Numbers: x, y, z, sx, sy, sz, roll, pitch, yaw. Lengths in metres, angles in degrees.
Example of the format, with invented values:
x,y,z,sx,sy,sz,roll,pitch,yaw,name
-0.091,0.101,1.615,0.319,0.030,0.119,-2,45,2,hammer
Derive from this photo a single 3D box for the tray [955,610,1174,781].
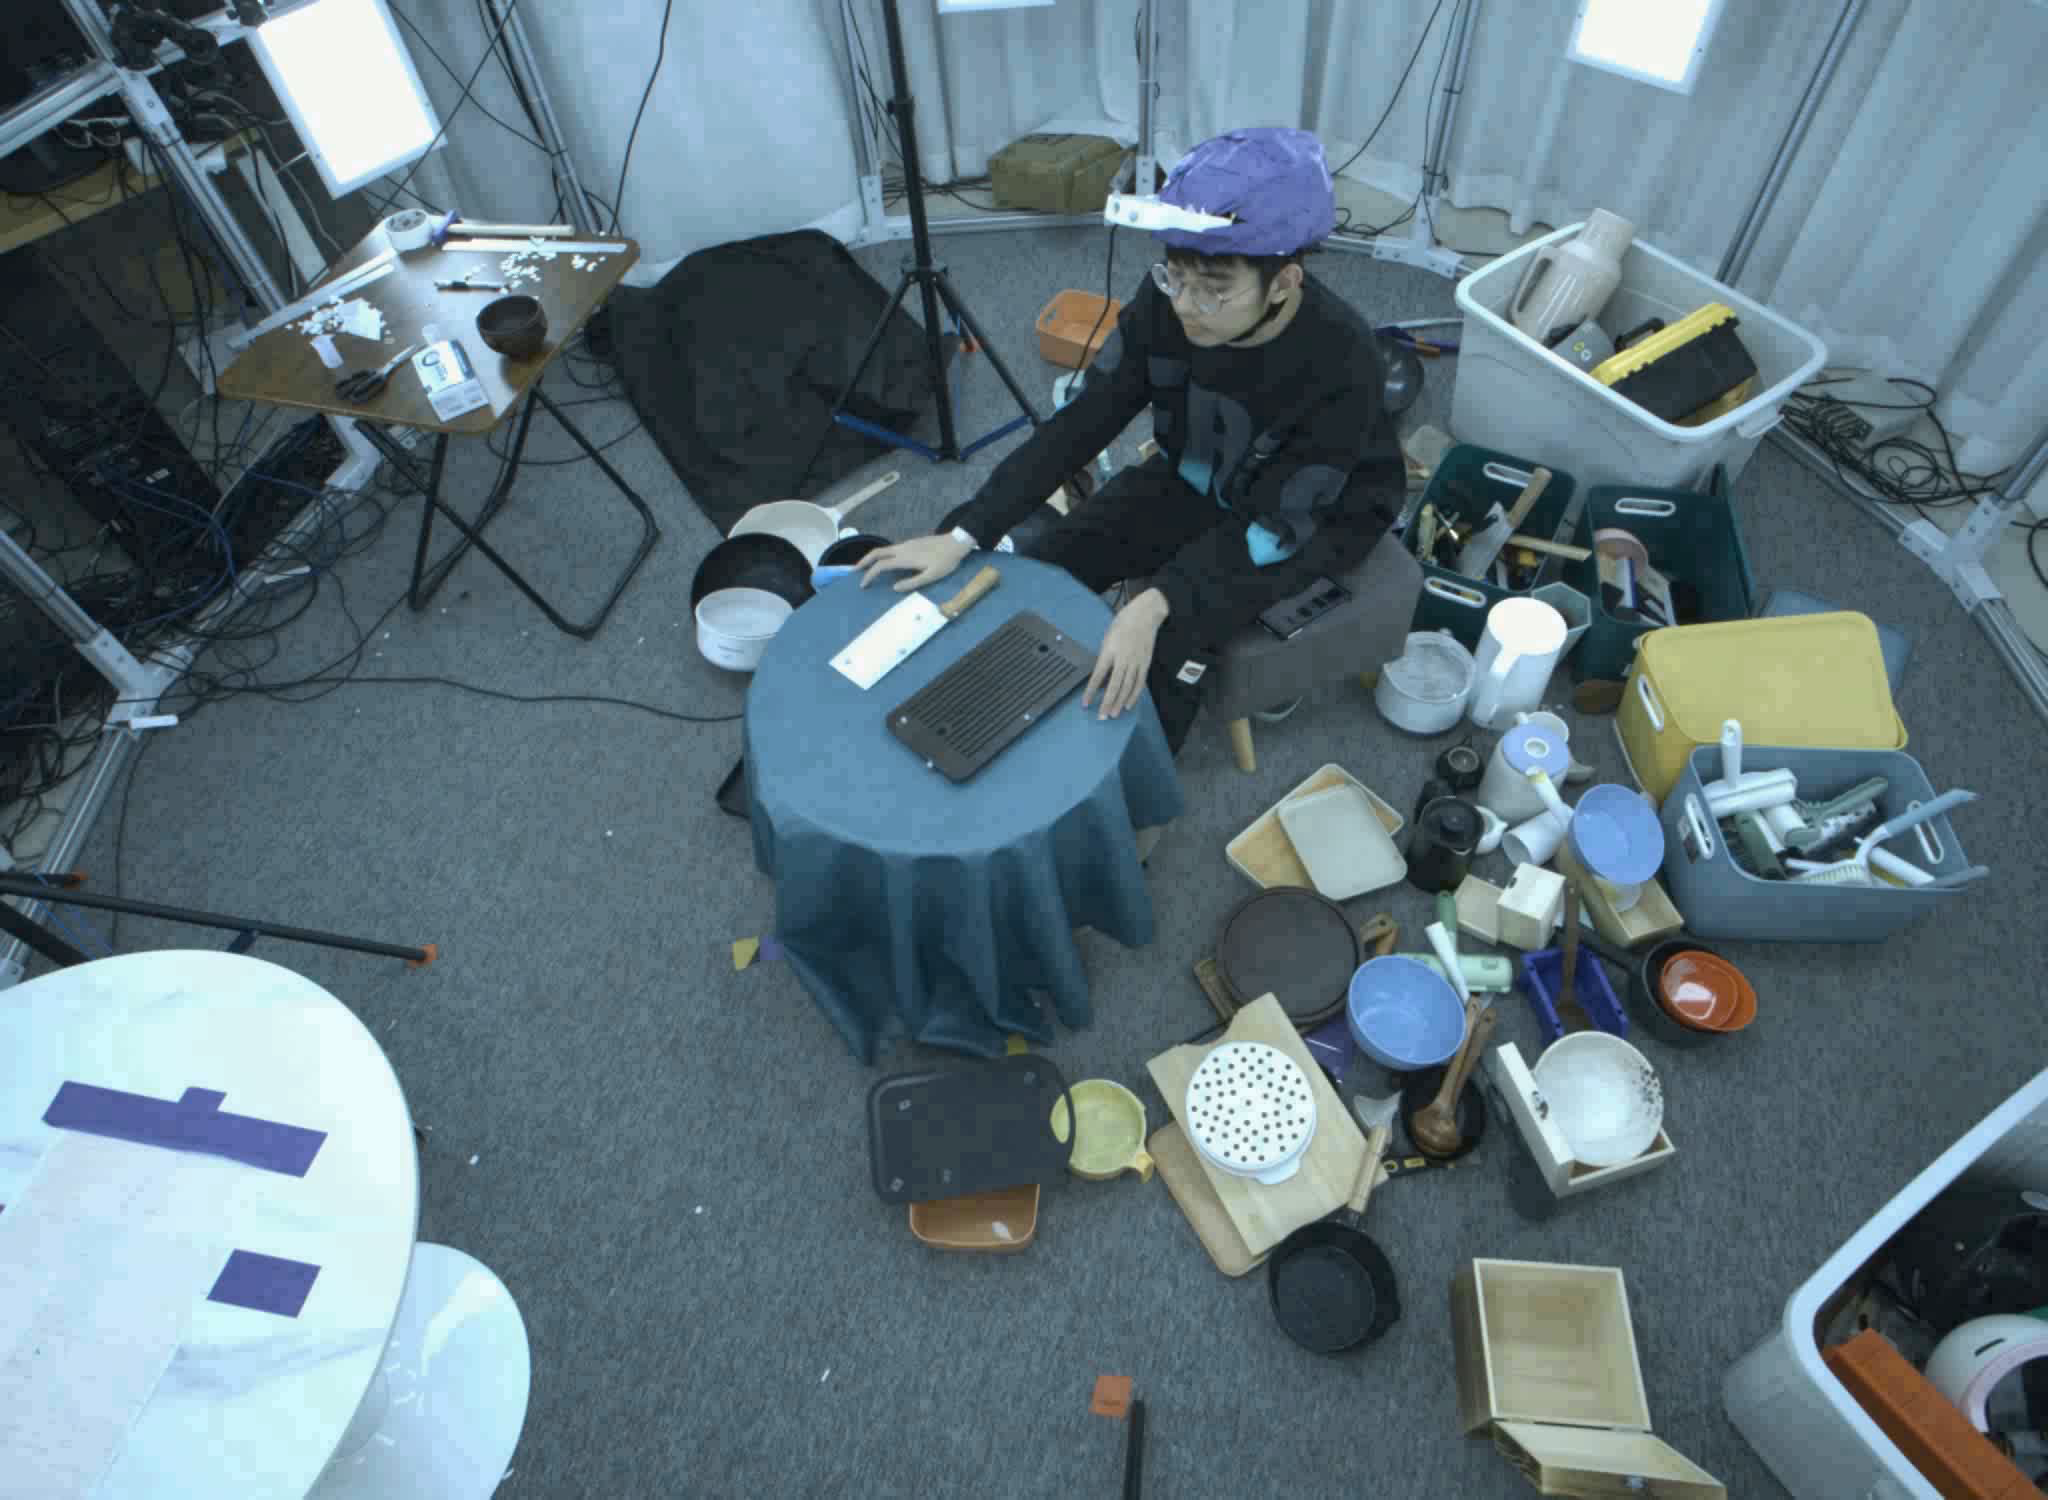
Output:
x,y,z,sx,sy,sz,roll,pitch,yaw,name
0.062,-0.084,1.833,0.308,0.019,0.167,-36,61,-21,tray

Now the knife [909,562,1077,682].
x,y,z,sx,sy,sz,roll,pitch,yaw,name
-0.052,-0.216,1.932,0.308,0.021,0.091,-39,61,-20,knife
